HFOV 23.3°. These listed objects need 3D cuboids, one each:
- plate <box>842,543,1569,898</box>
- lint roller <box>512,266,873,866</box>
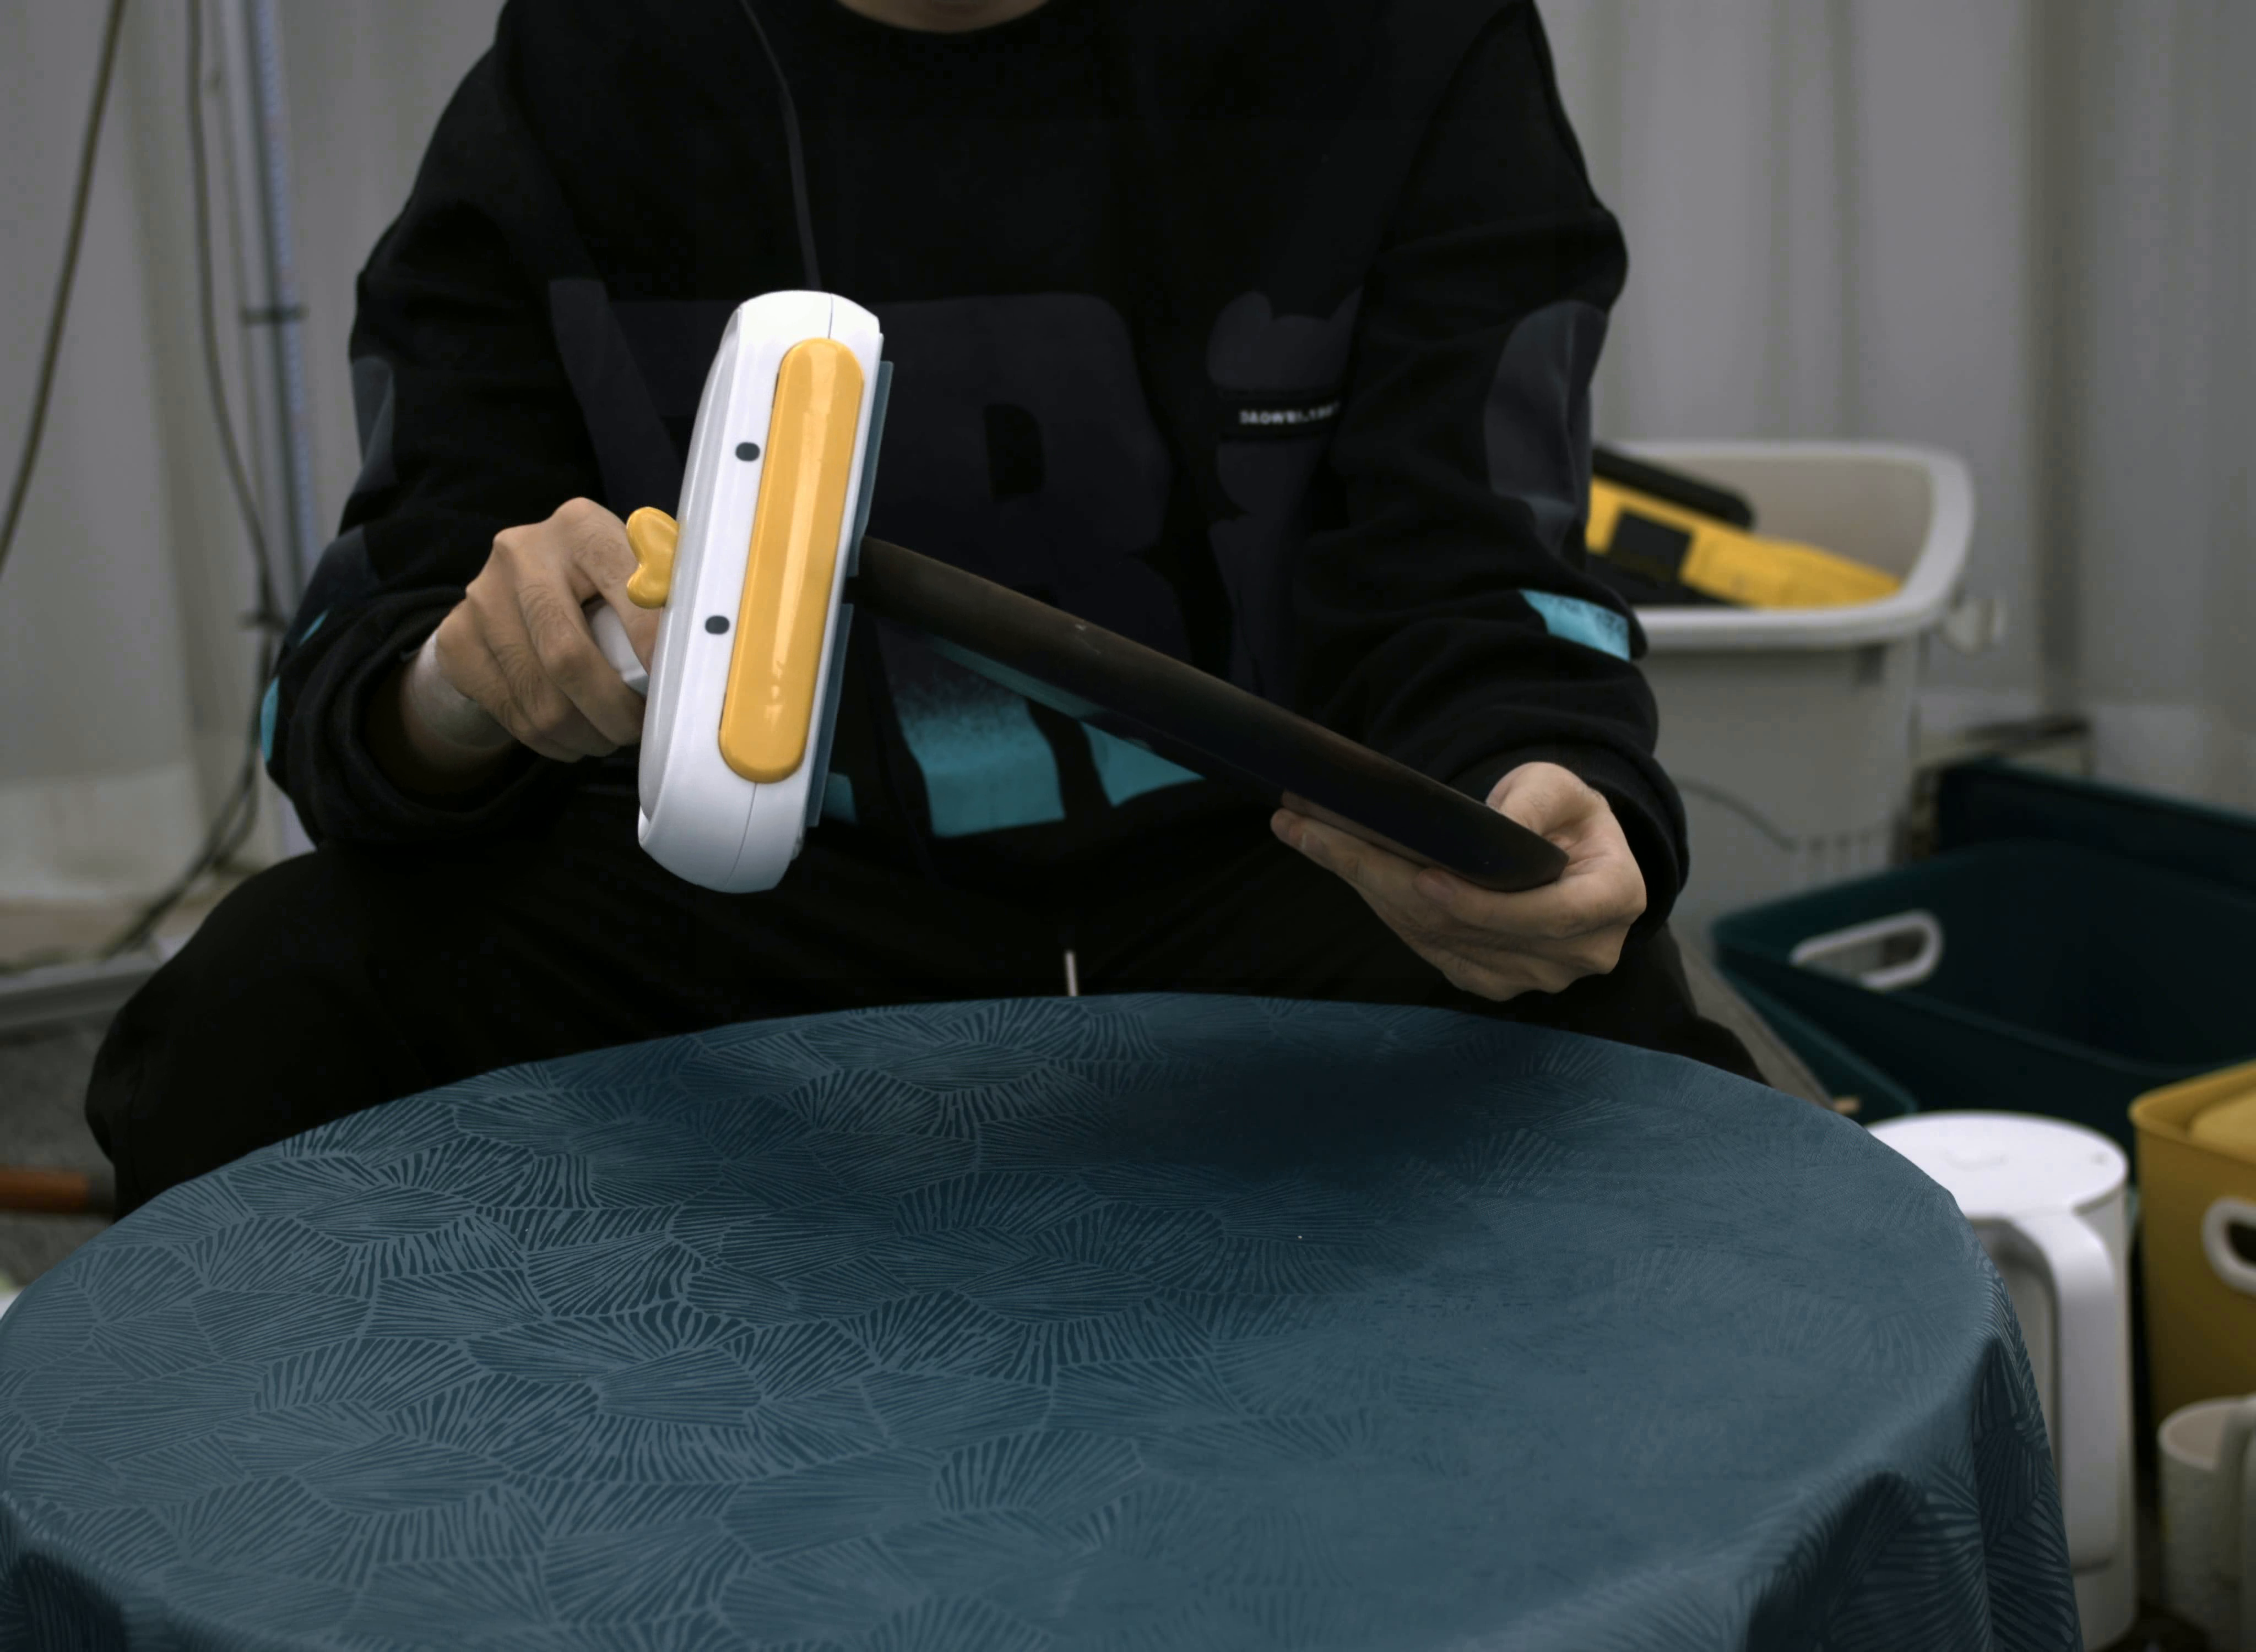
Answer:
[{"bbox_3d":[0.021,-0.033,1.742,0.254,0.029,0.254,24,-3,1],"label":"plate"},{"bbox_3d":[-0.143,-0.065,1.753,0.073,0.195,0.191,10,-22,-20],"label":"lint roller"}]
